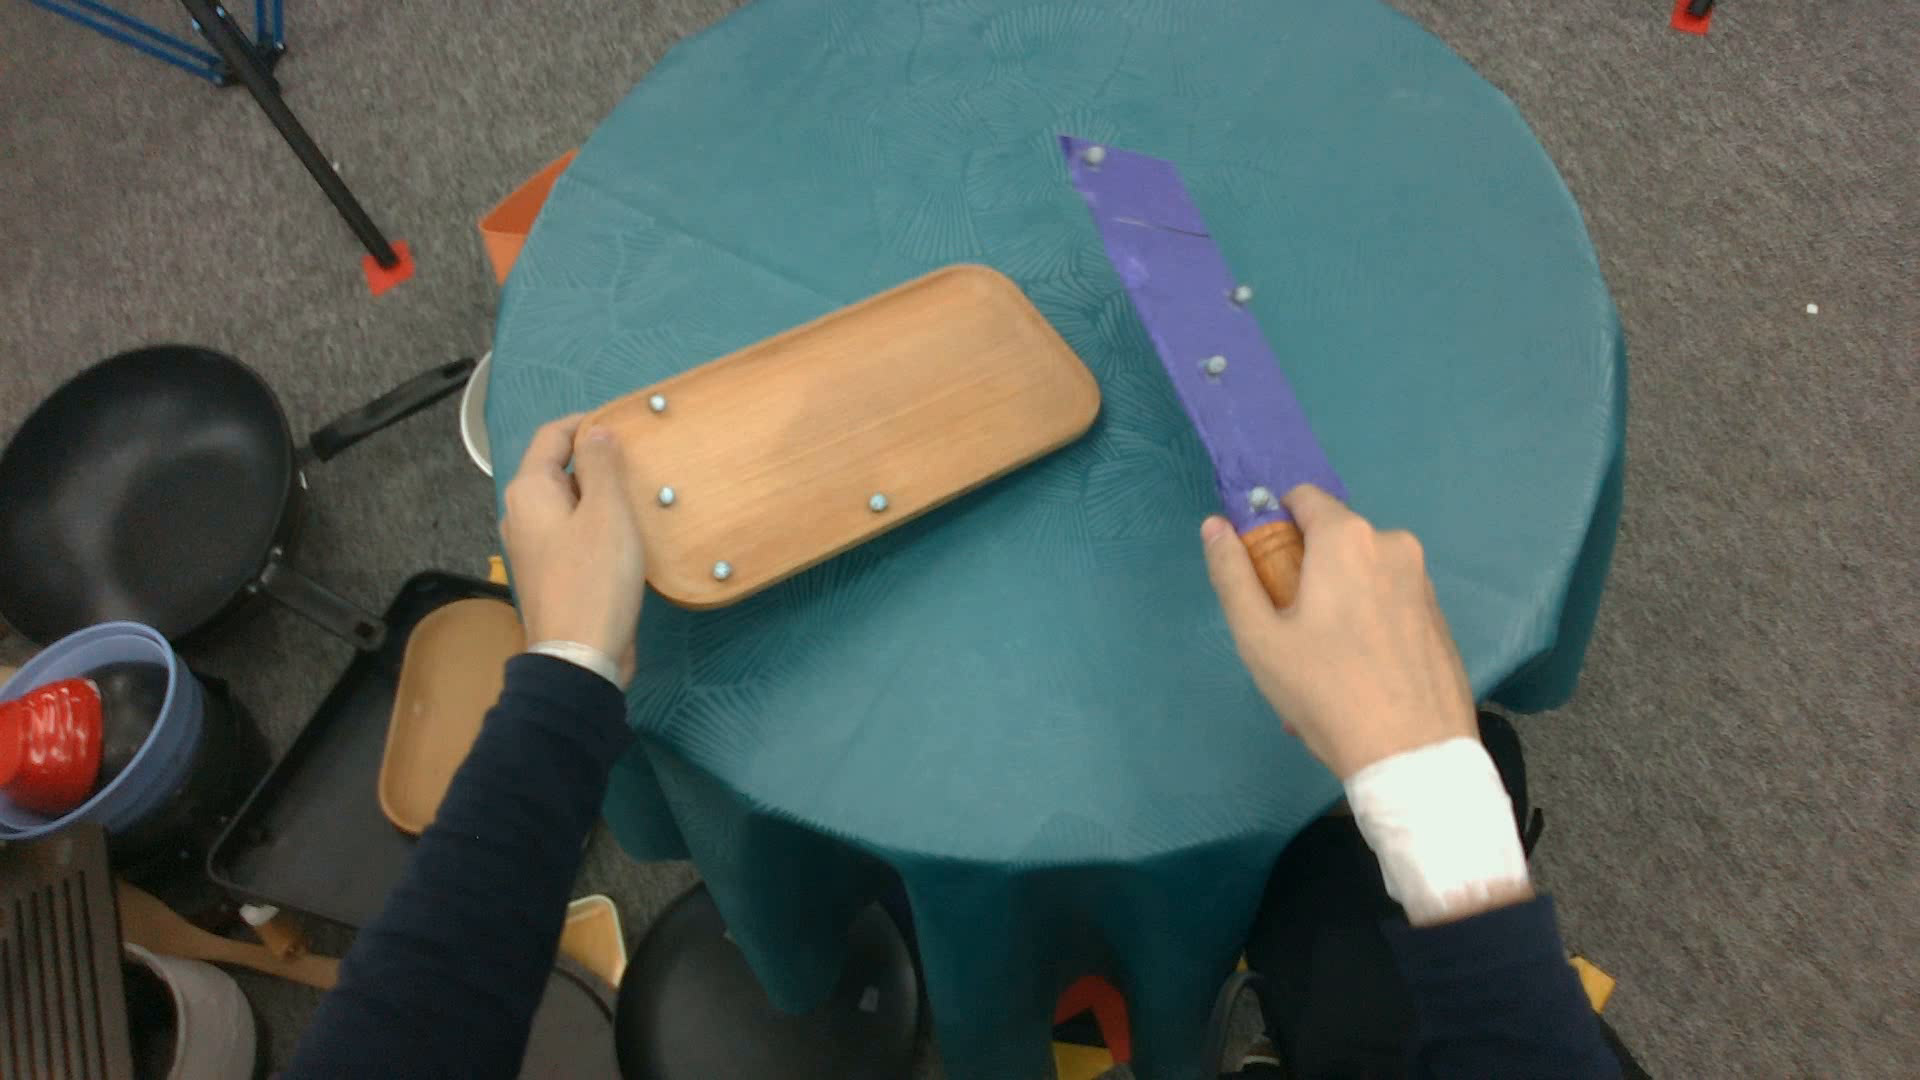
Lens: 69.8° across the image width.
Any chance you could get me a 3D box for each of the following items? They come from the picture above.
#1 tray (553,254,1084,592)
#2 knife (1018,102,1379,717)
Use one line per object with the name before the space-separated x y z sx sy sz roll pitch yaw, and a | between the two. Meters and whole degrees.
tray | -0.066 -0.064 0.682 0.251 0.023 0.131 -24 65 -23
knife | 0.121 -0.073 0.620 0.104 0.032 0.316 -2 62 -42
